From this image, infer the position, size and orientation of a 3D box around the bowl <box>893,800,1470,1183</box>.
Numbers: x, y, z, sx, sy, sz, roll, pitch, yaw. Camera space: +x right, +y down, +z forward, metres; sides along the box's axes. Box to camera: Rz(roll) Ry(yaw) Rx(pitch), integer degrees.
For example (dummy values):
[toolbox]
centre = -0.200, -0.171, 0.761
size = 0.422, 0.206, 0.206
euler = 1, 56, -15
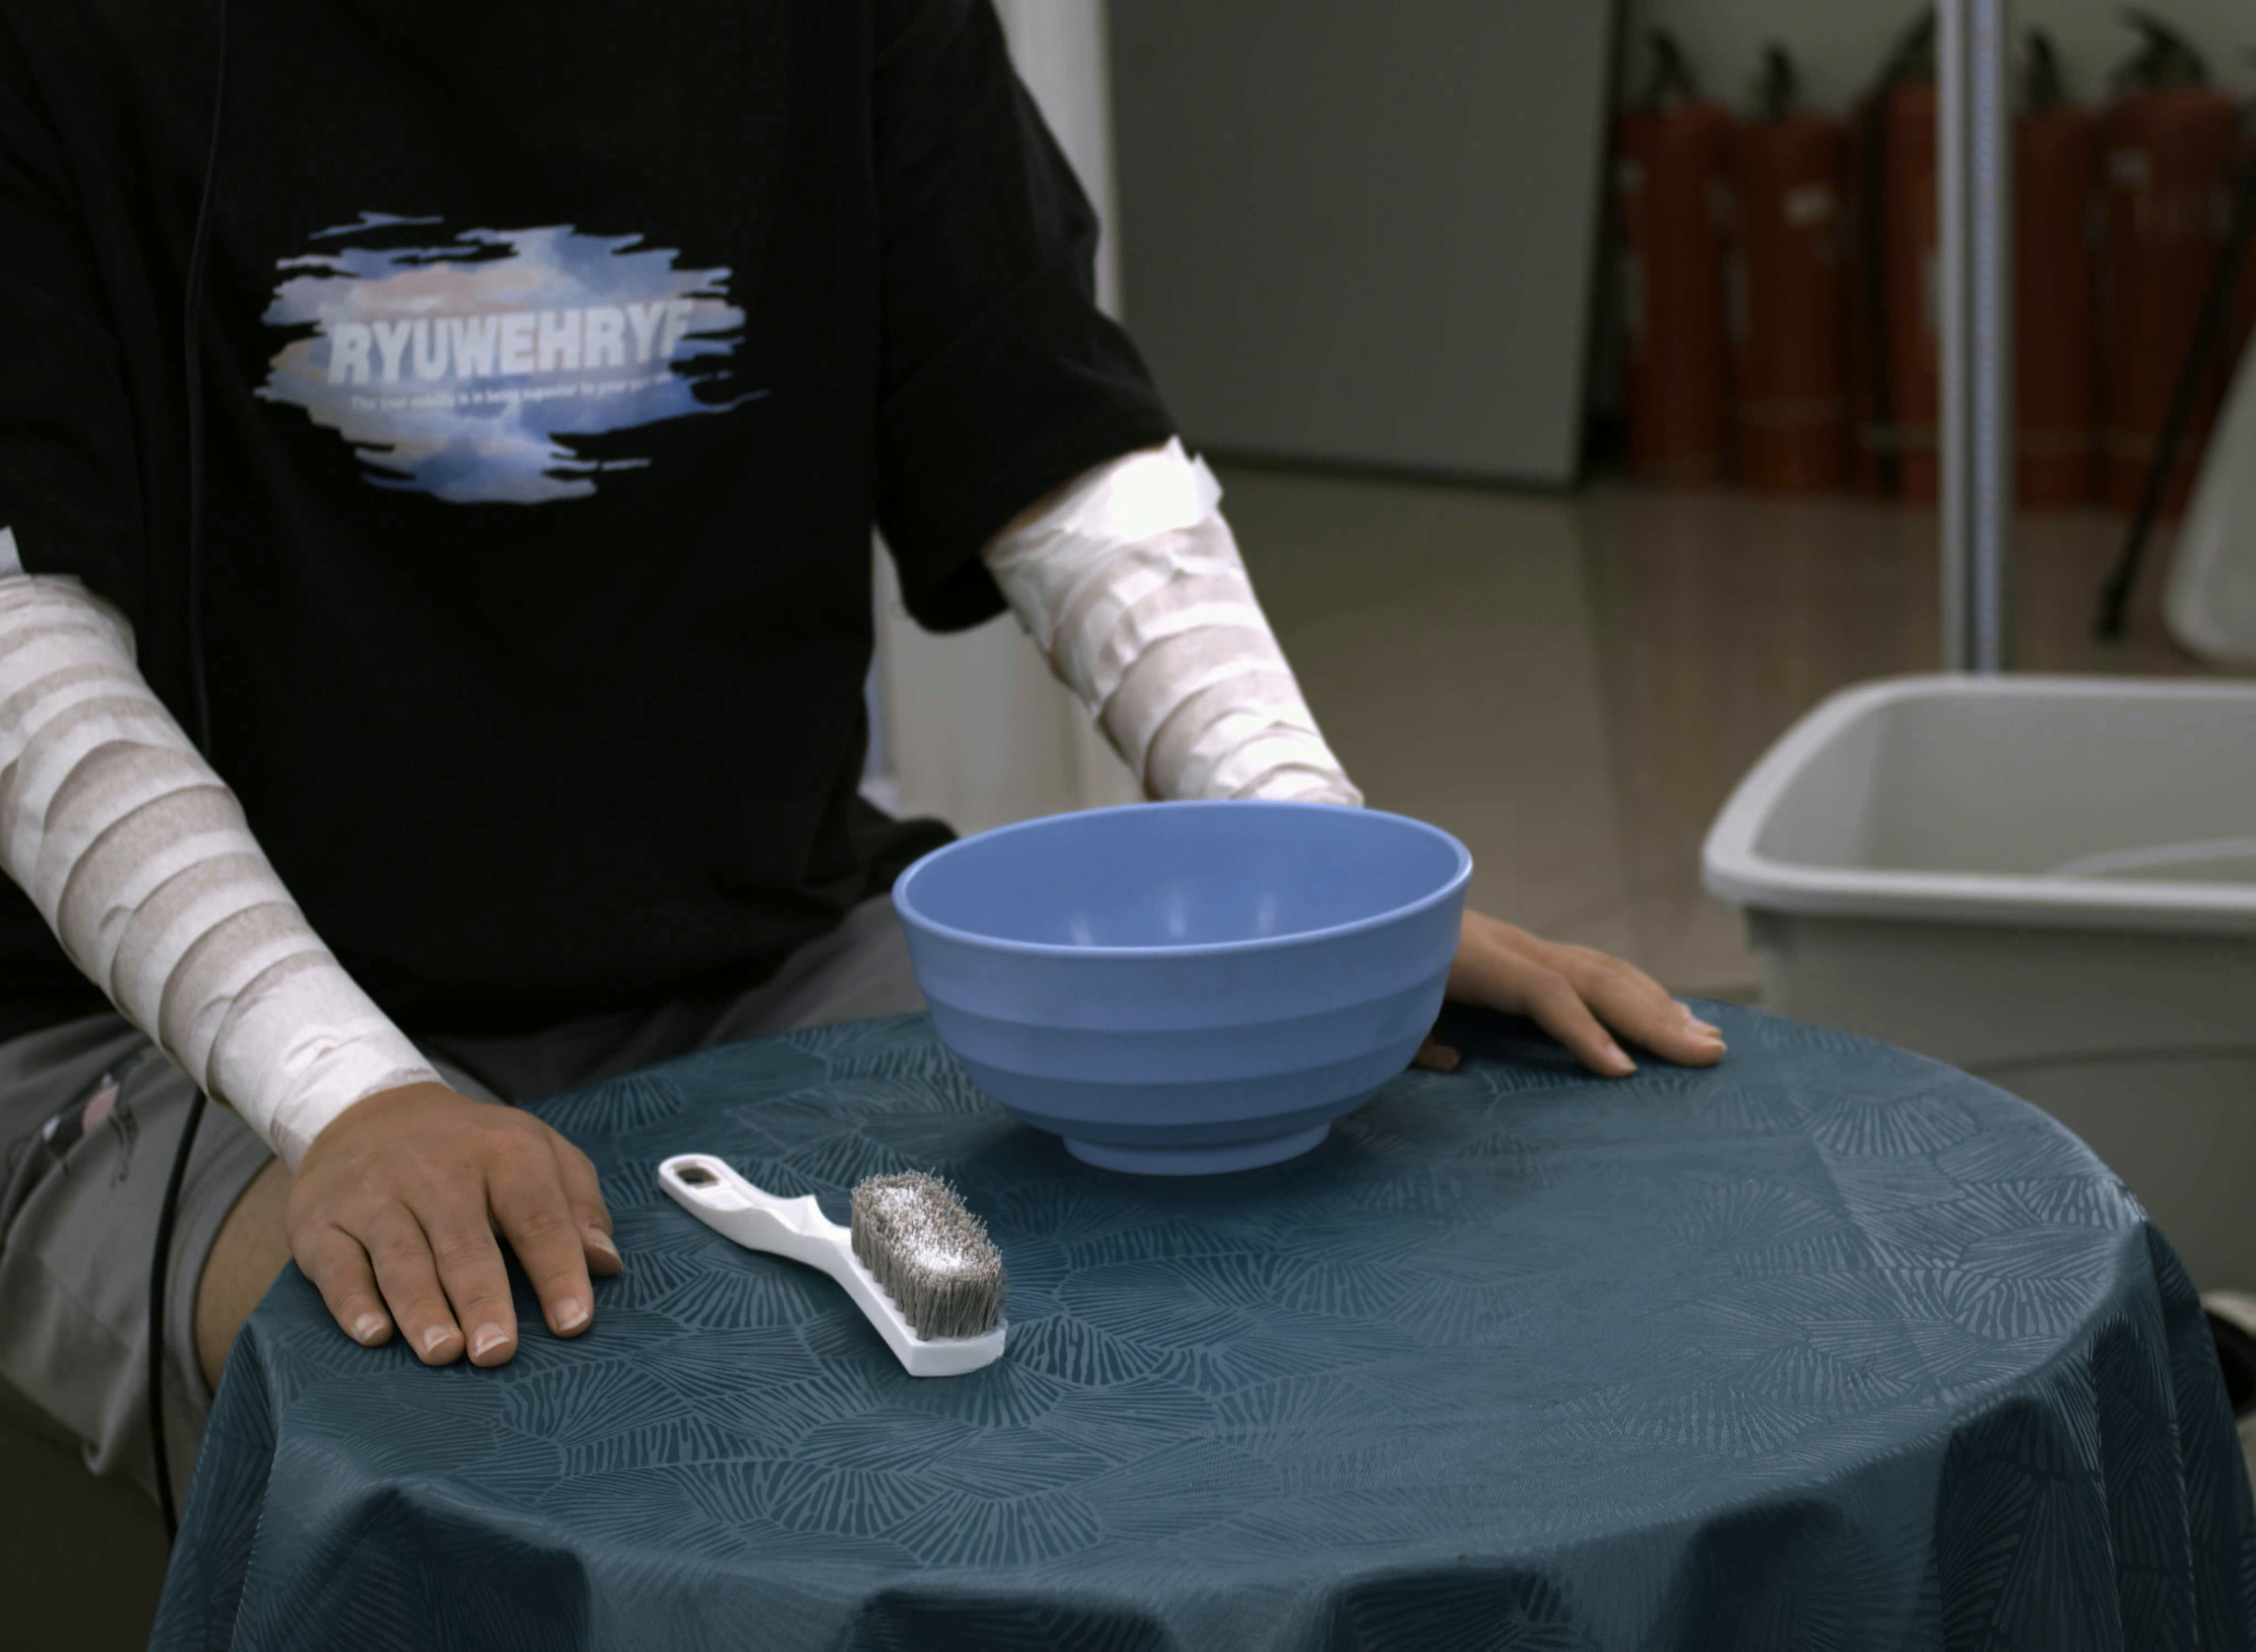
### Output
[bowl]
centre = 0.021, 0.061, 1.816
size = 0.194, 0.096, 0.197
euler = -5, 14, 0

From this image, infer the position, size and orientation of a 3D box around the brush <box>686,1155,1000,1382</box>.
[brush]
centre = -0.095, 0.119, 1.704
size = 0.034, 0.051, 0.246
euler = -12, 15, -20
